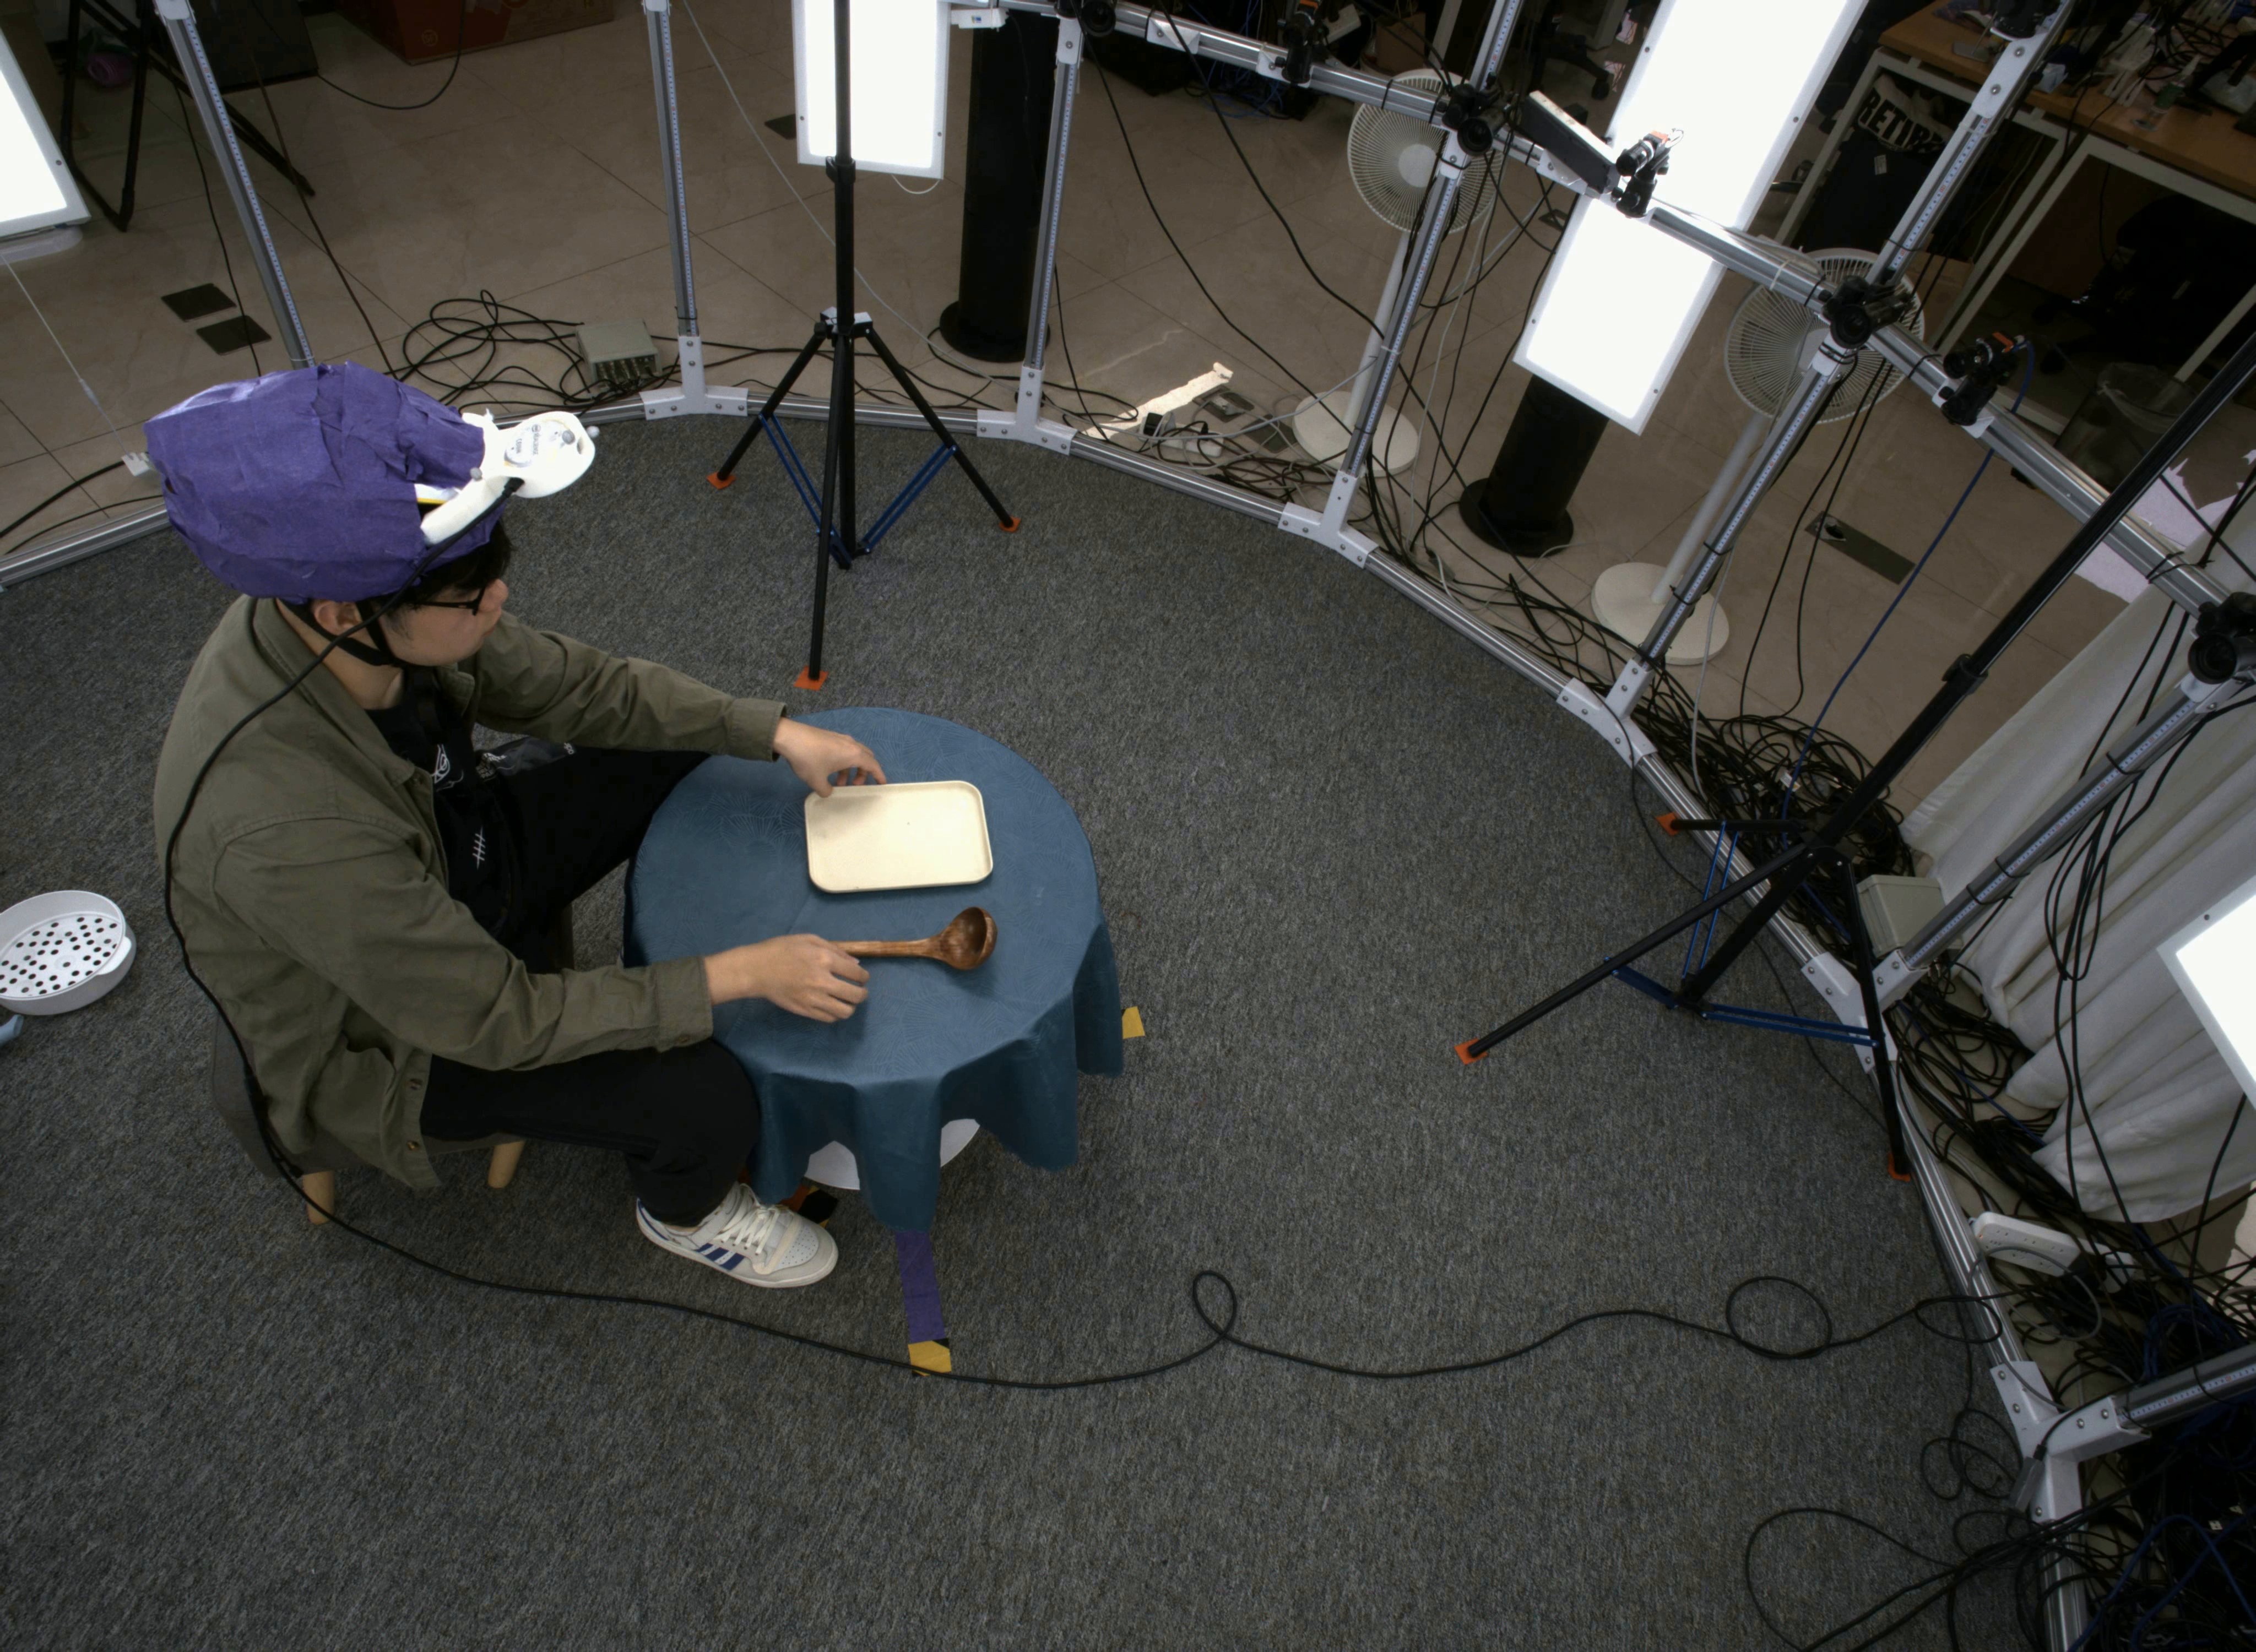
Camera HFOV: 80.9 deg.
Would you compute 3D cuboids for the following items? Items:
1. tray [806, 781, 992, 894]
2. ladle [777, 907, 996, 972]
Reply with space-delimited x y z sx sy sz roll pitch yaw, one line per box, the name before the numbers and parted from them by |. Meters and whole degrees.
tray | -0.307 0.014 1.745 0.240 0.018 0.167 -3 55 -16
ladle | -0.301 0.141 1.618 0.274 0.078 0.080 1 57 -12
